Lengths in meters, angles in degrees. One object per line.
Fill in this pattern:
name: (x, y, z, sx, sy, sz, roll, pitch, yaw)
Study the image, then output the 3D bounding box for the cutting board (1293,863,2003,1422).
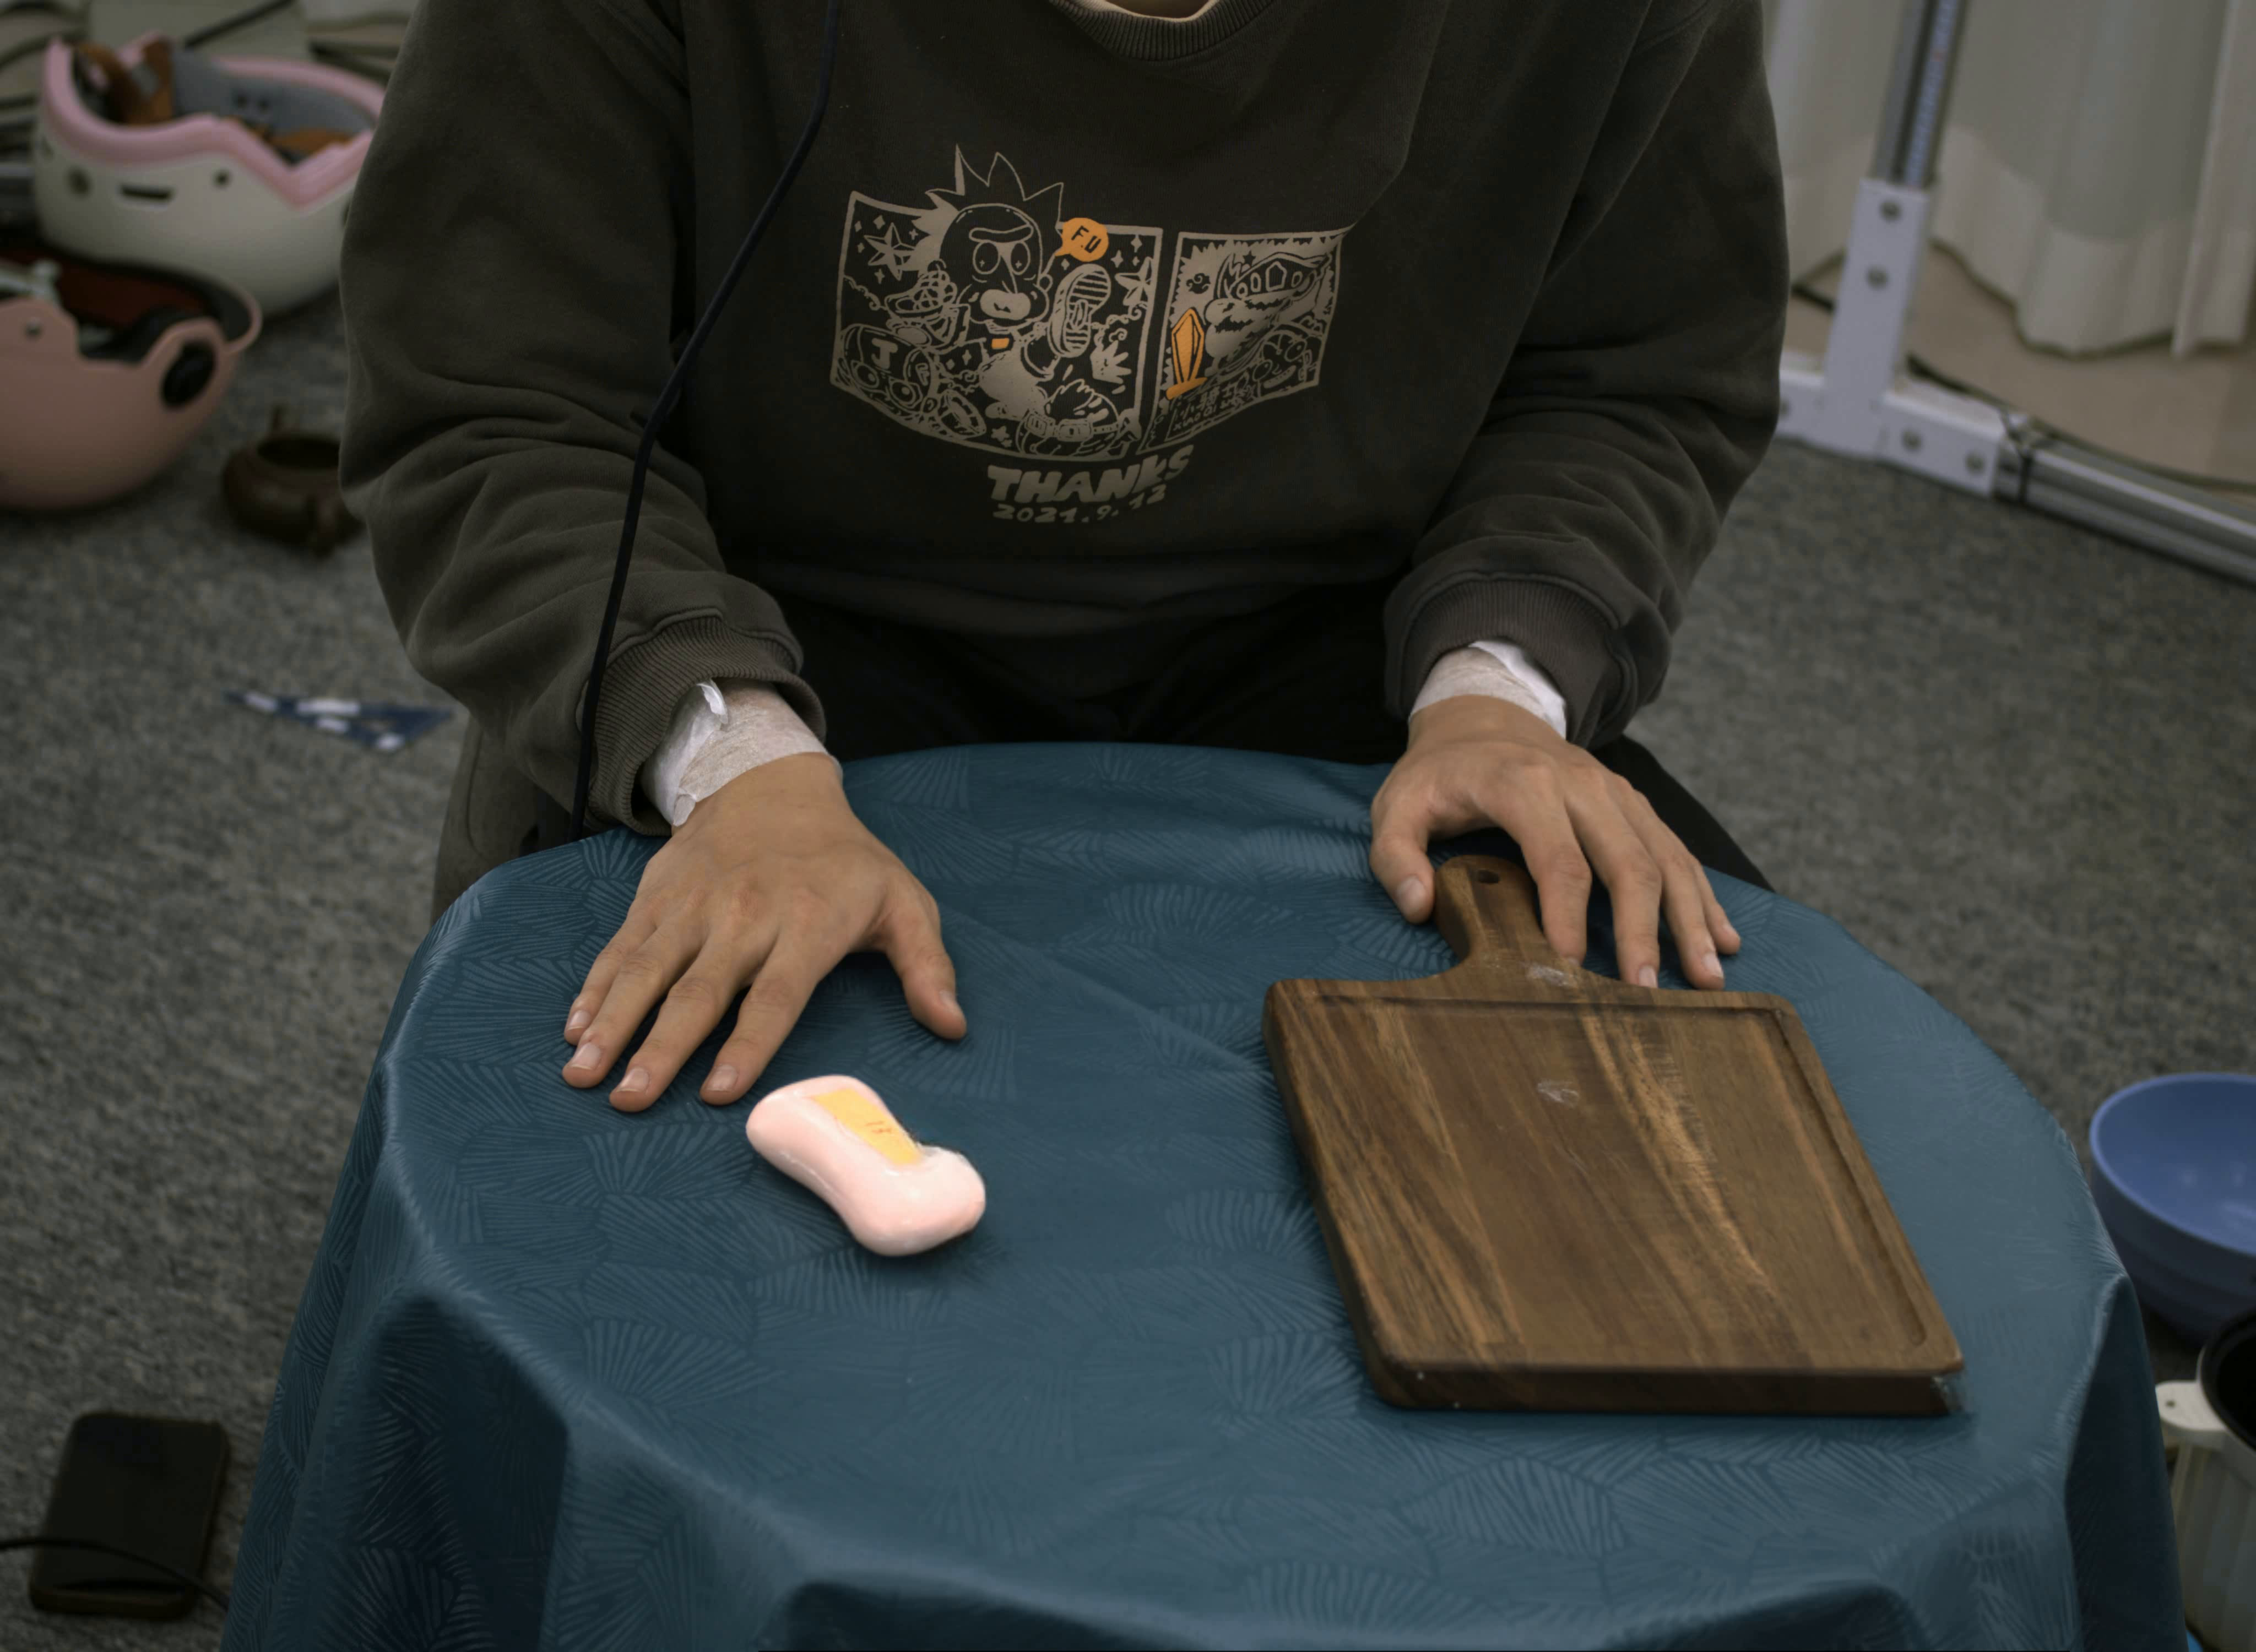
cutting board: (0.166, 0.103, 1.859, 0.200, 0.023, 0.355, 2, 27, -8)

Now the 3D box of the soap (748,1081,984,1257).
soap: (-0.088, 0.114, 1.773, 0.050, 0.030, 0.095, -11, 30, -33)
